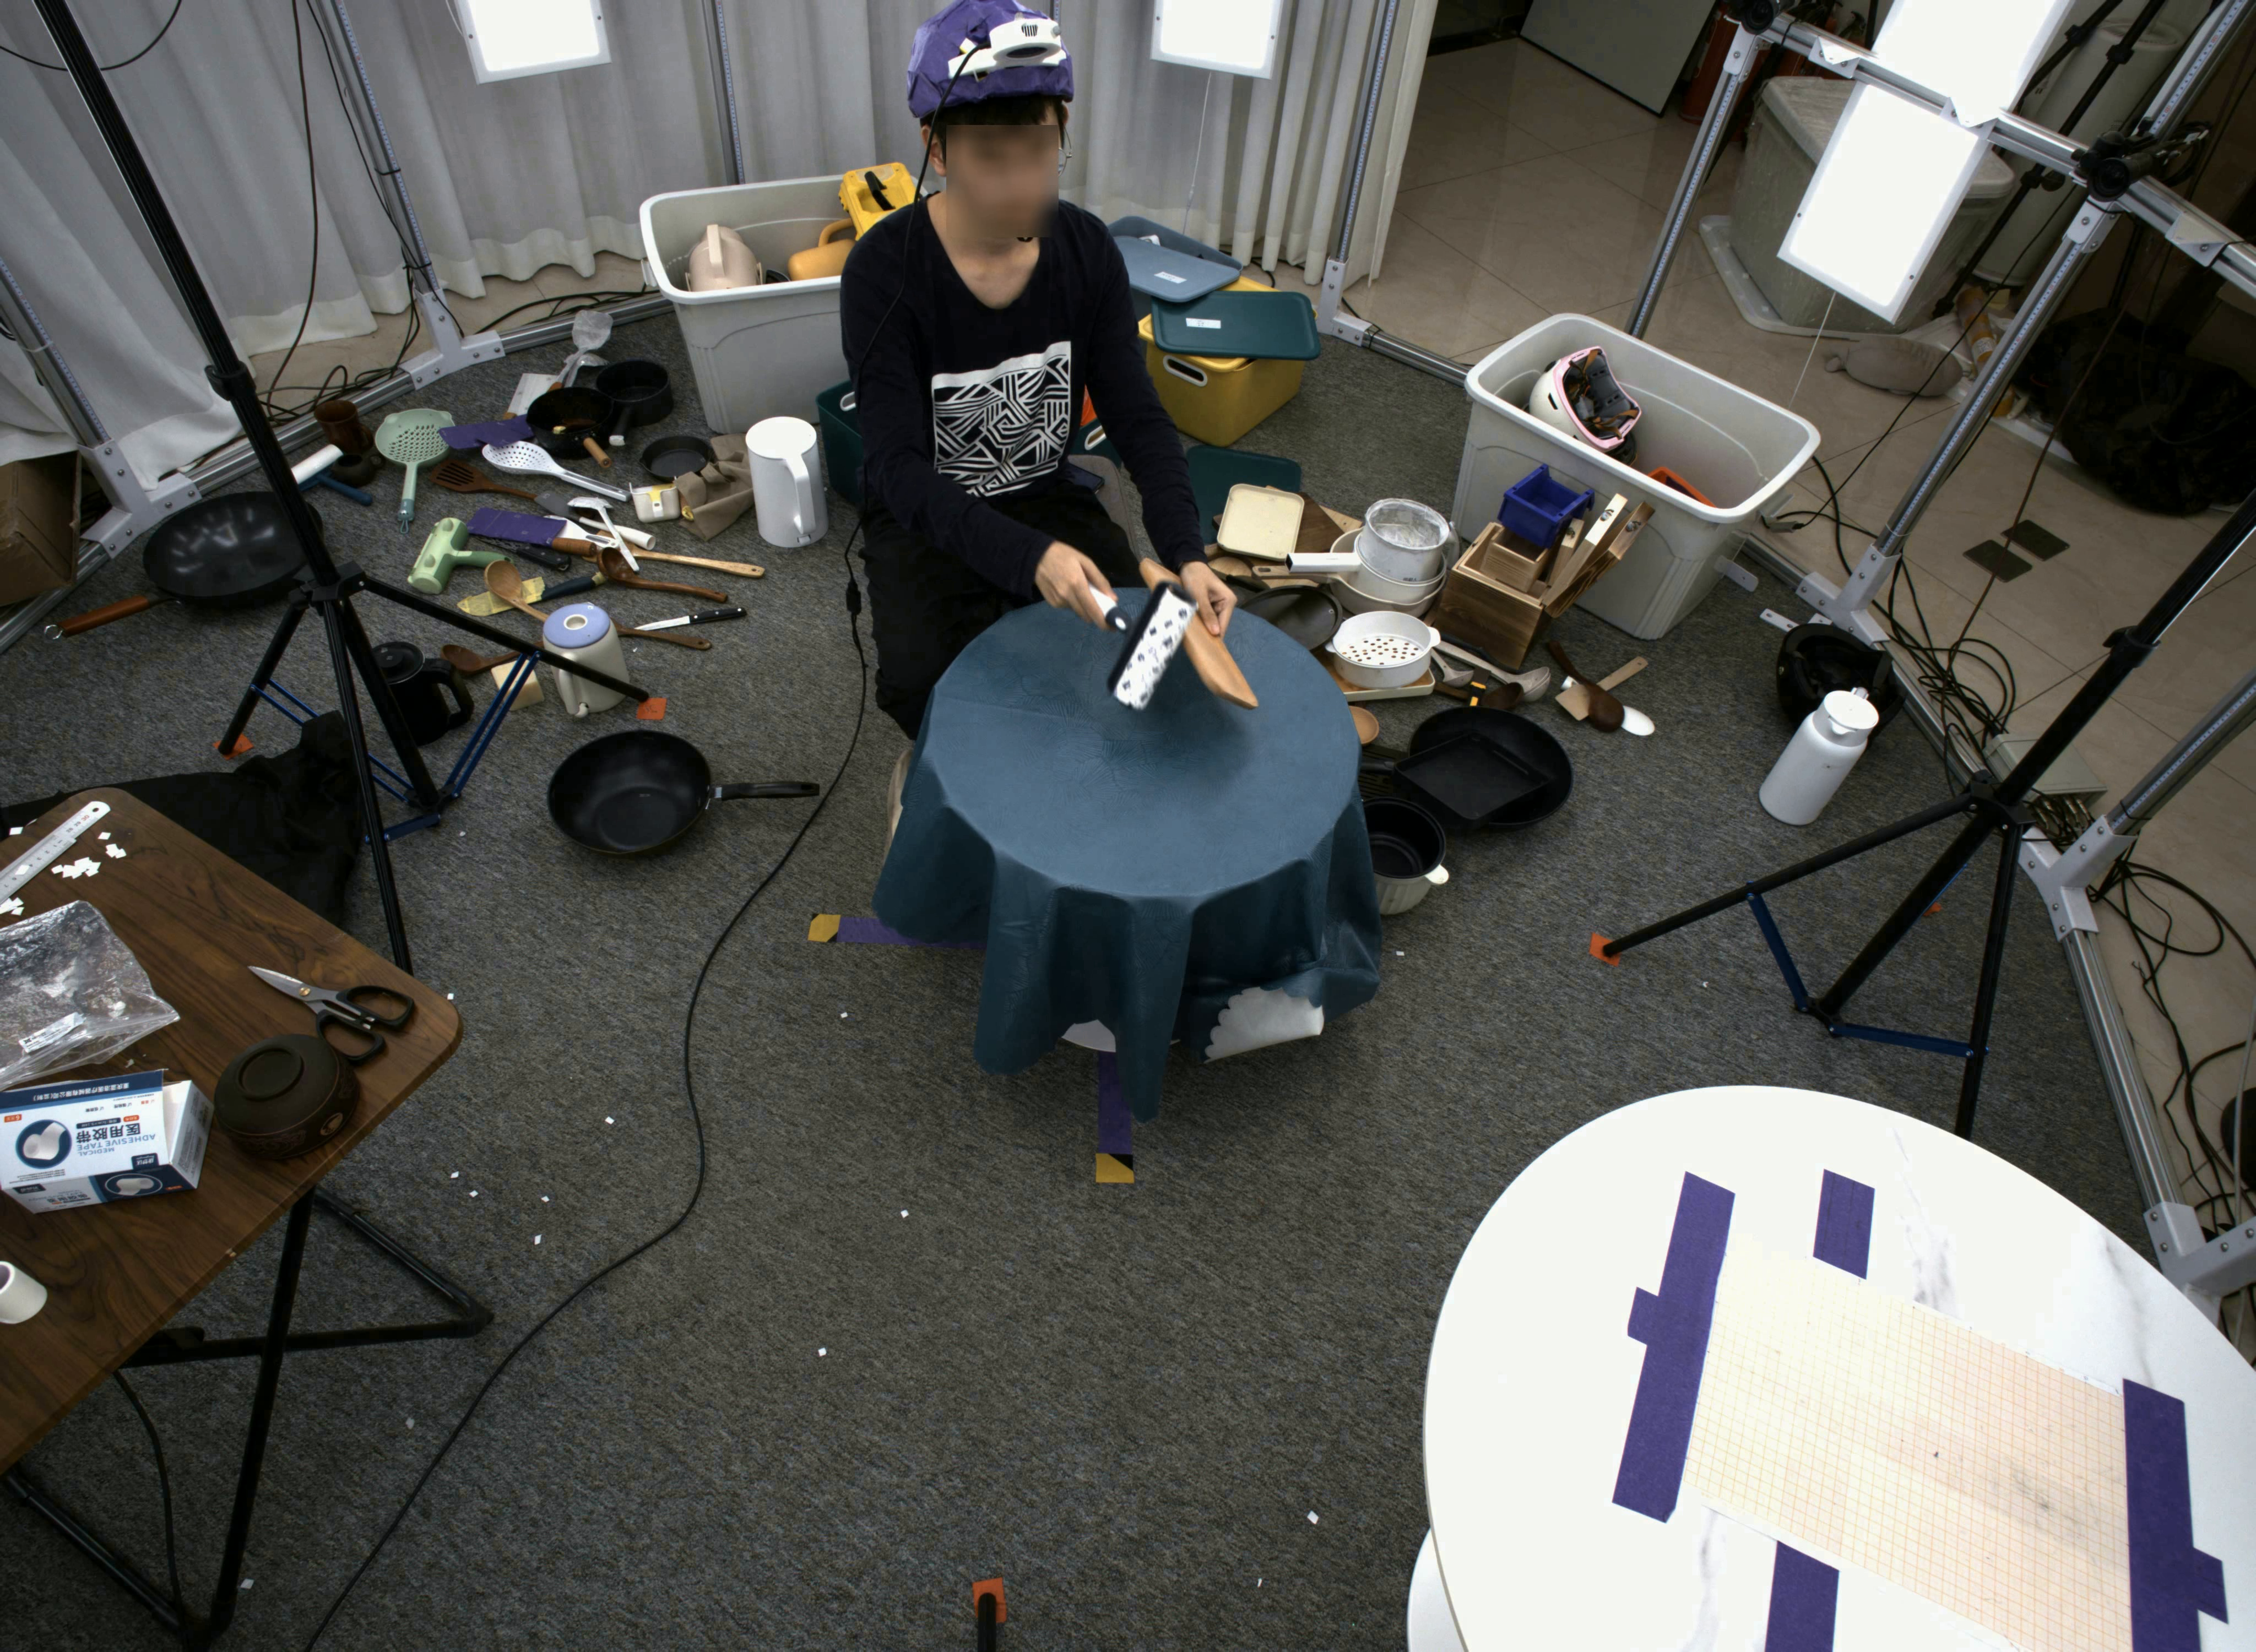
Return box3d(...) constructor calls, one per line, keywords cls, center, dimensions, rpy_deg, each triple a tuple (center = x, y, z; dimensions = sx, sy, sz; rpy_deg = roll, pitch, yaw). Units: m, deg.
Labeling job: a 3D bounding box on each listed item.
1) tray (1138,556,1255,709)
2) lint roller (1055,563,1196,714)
box3d(cls="tray", center=(0.093, -0.267, 1.776), dimensions=(0.023, 0.129, 0.256), rpy_deg=(-39, 58, 20))
box3d(cls="lint roller", center=(-0.028, -0.290, 1.762), dimensions=(0.050, 0.174, 0.251), rpy_deg=(-2, 37, -49))
